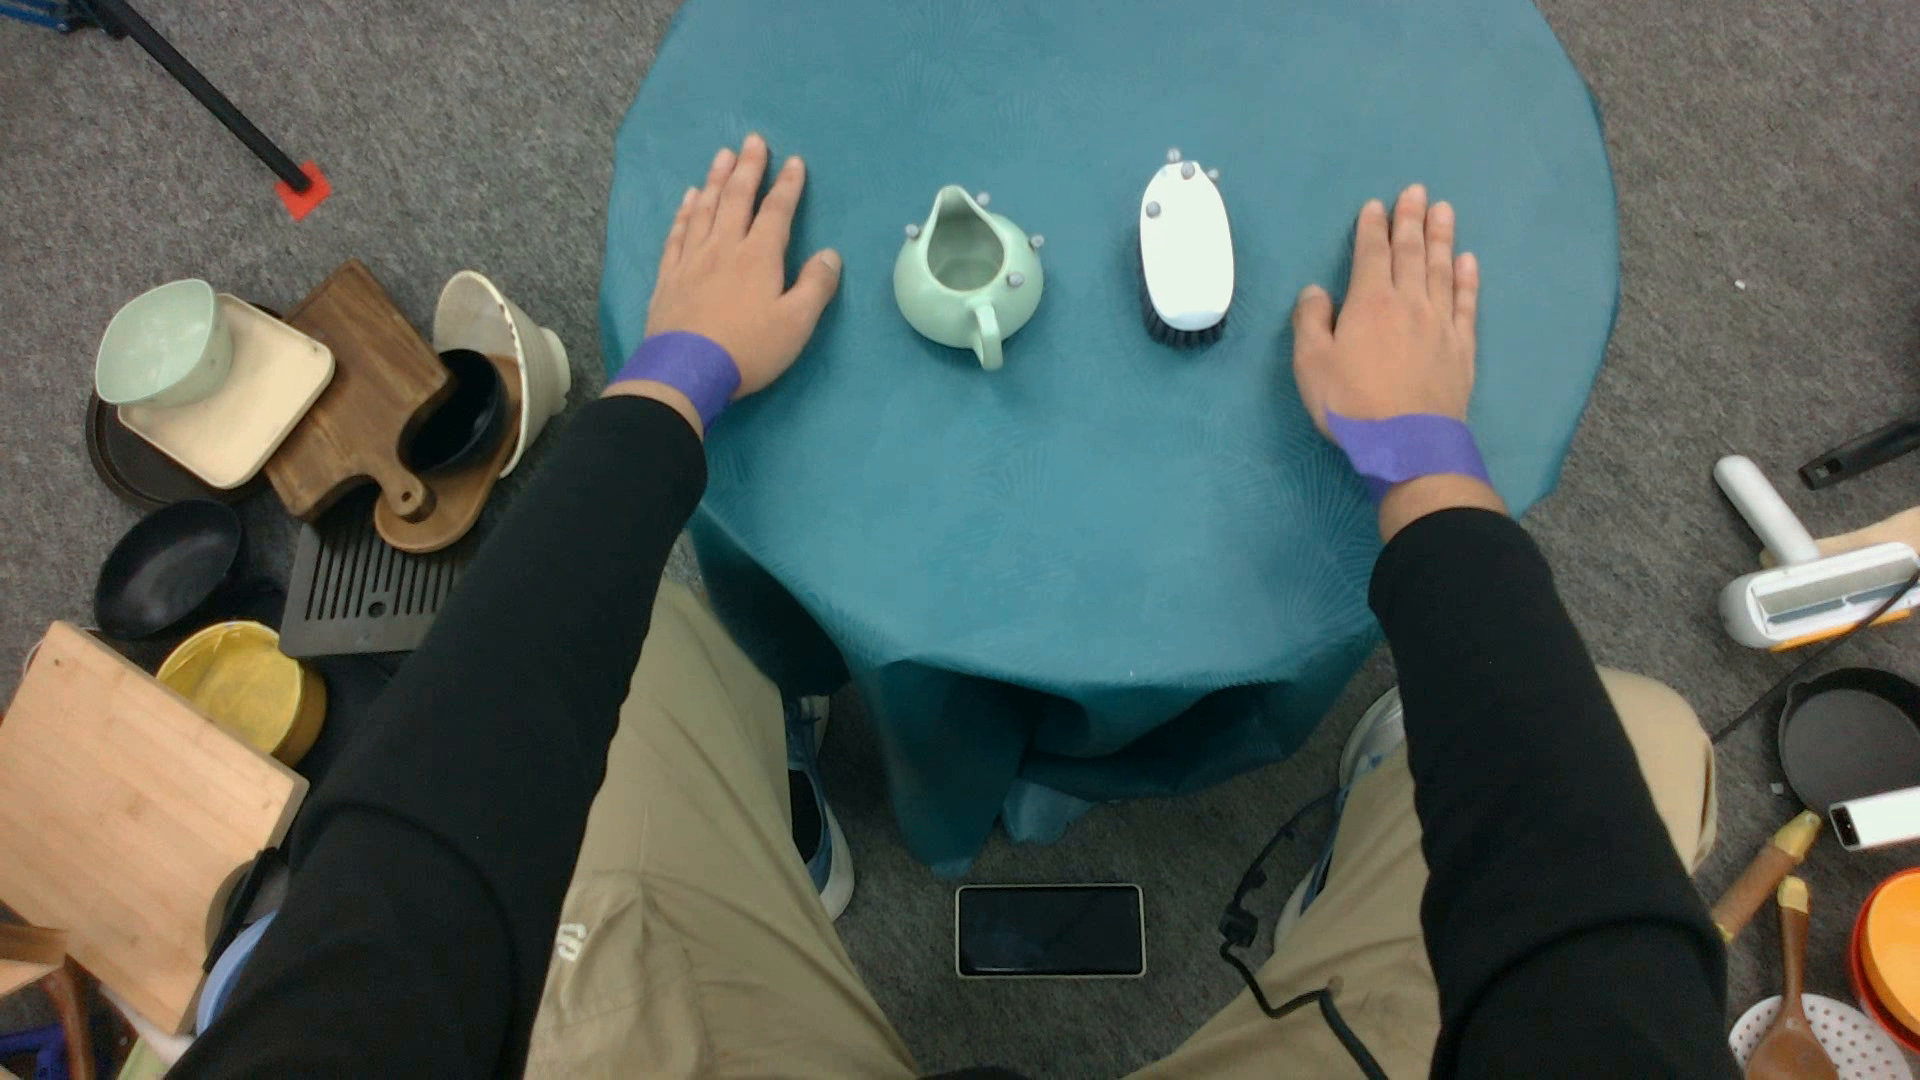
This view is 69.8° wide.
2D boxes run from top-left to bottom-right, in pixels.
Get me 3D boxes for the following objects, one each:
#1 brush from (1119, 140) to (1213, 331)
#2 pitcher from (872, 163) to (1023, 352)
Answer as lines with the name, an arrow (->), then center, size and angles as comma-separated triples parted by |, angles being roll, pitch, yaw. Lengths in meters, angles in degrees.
brush -> 0.116, -0.177, 0.770 | 0.050, 0.072, 0.099 | -3, 71, 3
pitcher -> -0.004, -0.154, 0.779 | 0.086, 0.060, 0.108 | -17, 75, -2
